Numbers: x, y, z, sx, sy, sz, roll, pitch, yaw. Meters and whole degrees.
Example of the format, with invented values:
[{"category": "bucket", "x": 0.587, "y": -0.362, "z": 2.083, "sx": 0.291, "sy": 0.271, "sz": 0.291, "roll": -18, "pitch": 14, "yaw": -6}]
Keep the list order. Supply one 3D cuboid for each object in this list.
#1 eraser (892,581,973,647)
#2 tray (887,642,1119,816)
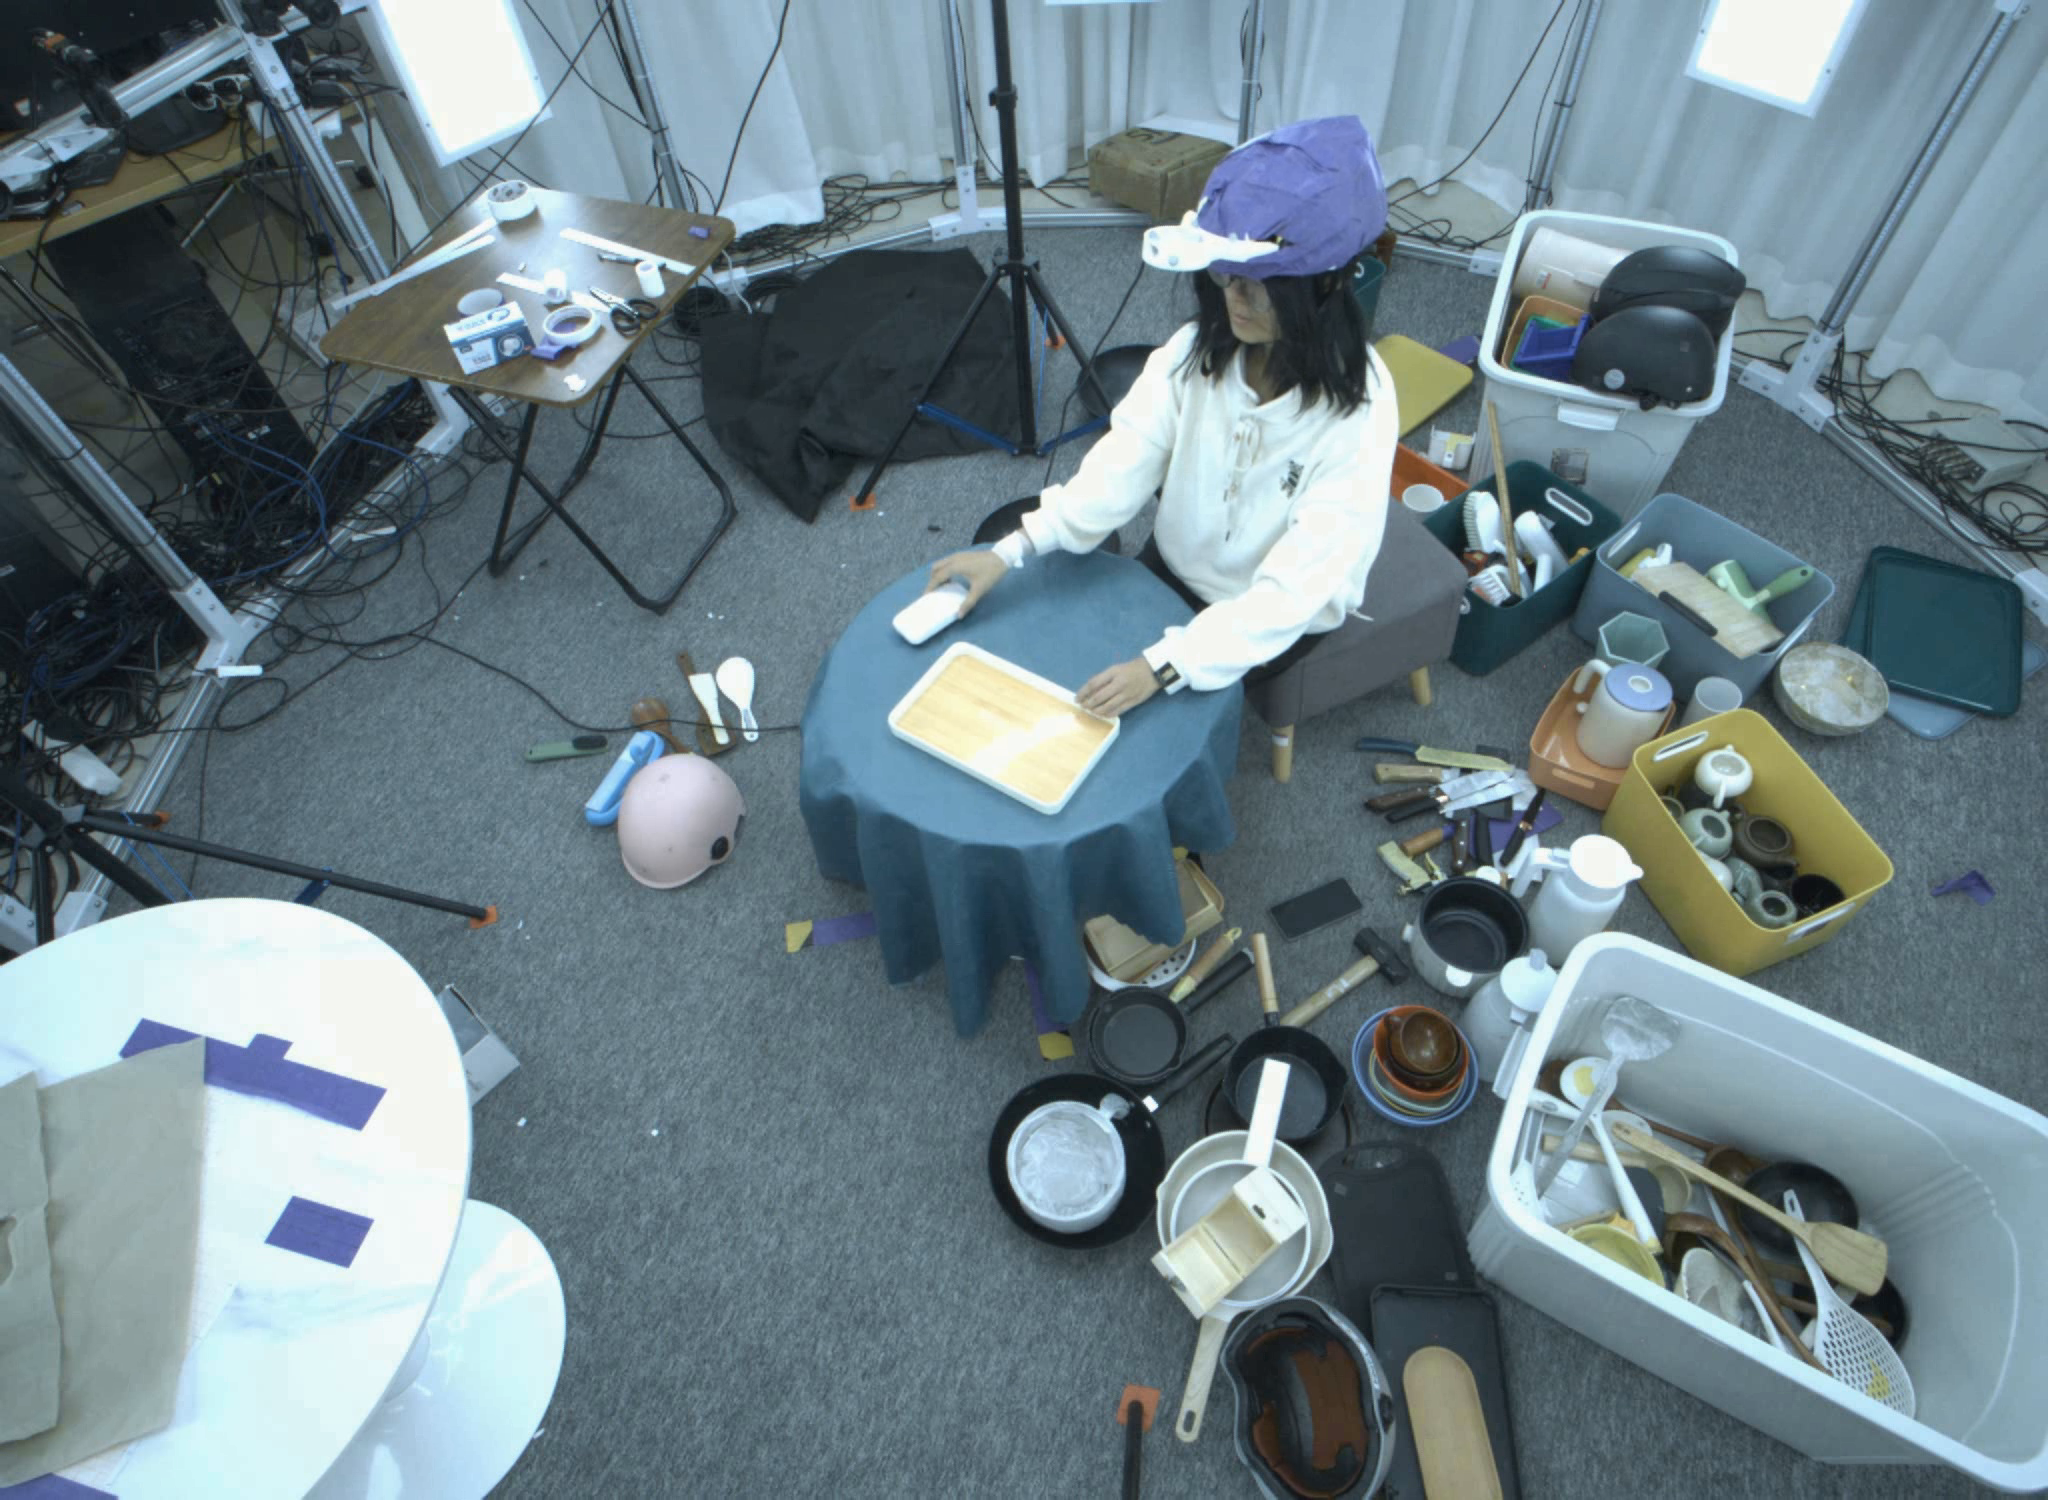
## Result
[{"category": "eraser", "x": -0.143, "y": -0.215, "z": 1.925, "sx": 0.132, "sy": 0.035, "sz": 0.062, "roll": -35, "pitch": 60, "yaw": -20}, {"category": "tray", "x": -0.032, "y": -0.036, "z": 1.798, "sx": 0.296, "sy": 0.028, "sz": 0.192, "roll": 27, "pitch": 60, "yaw": 20}]
